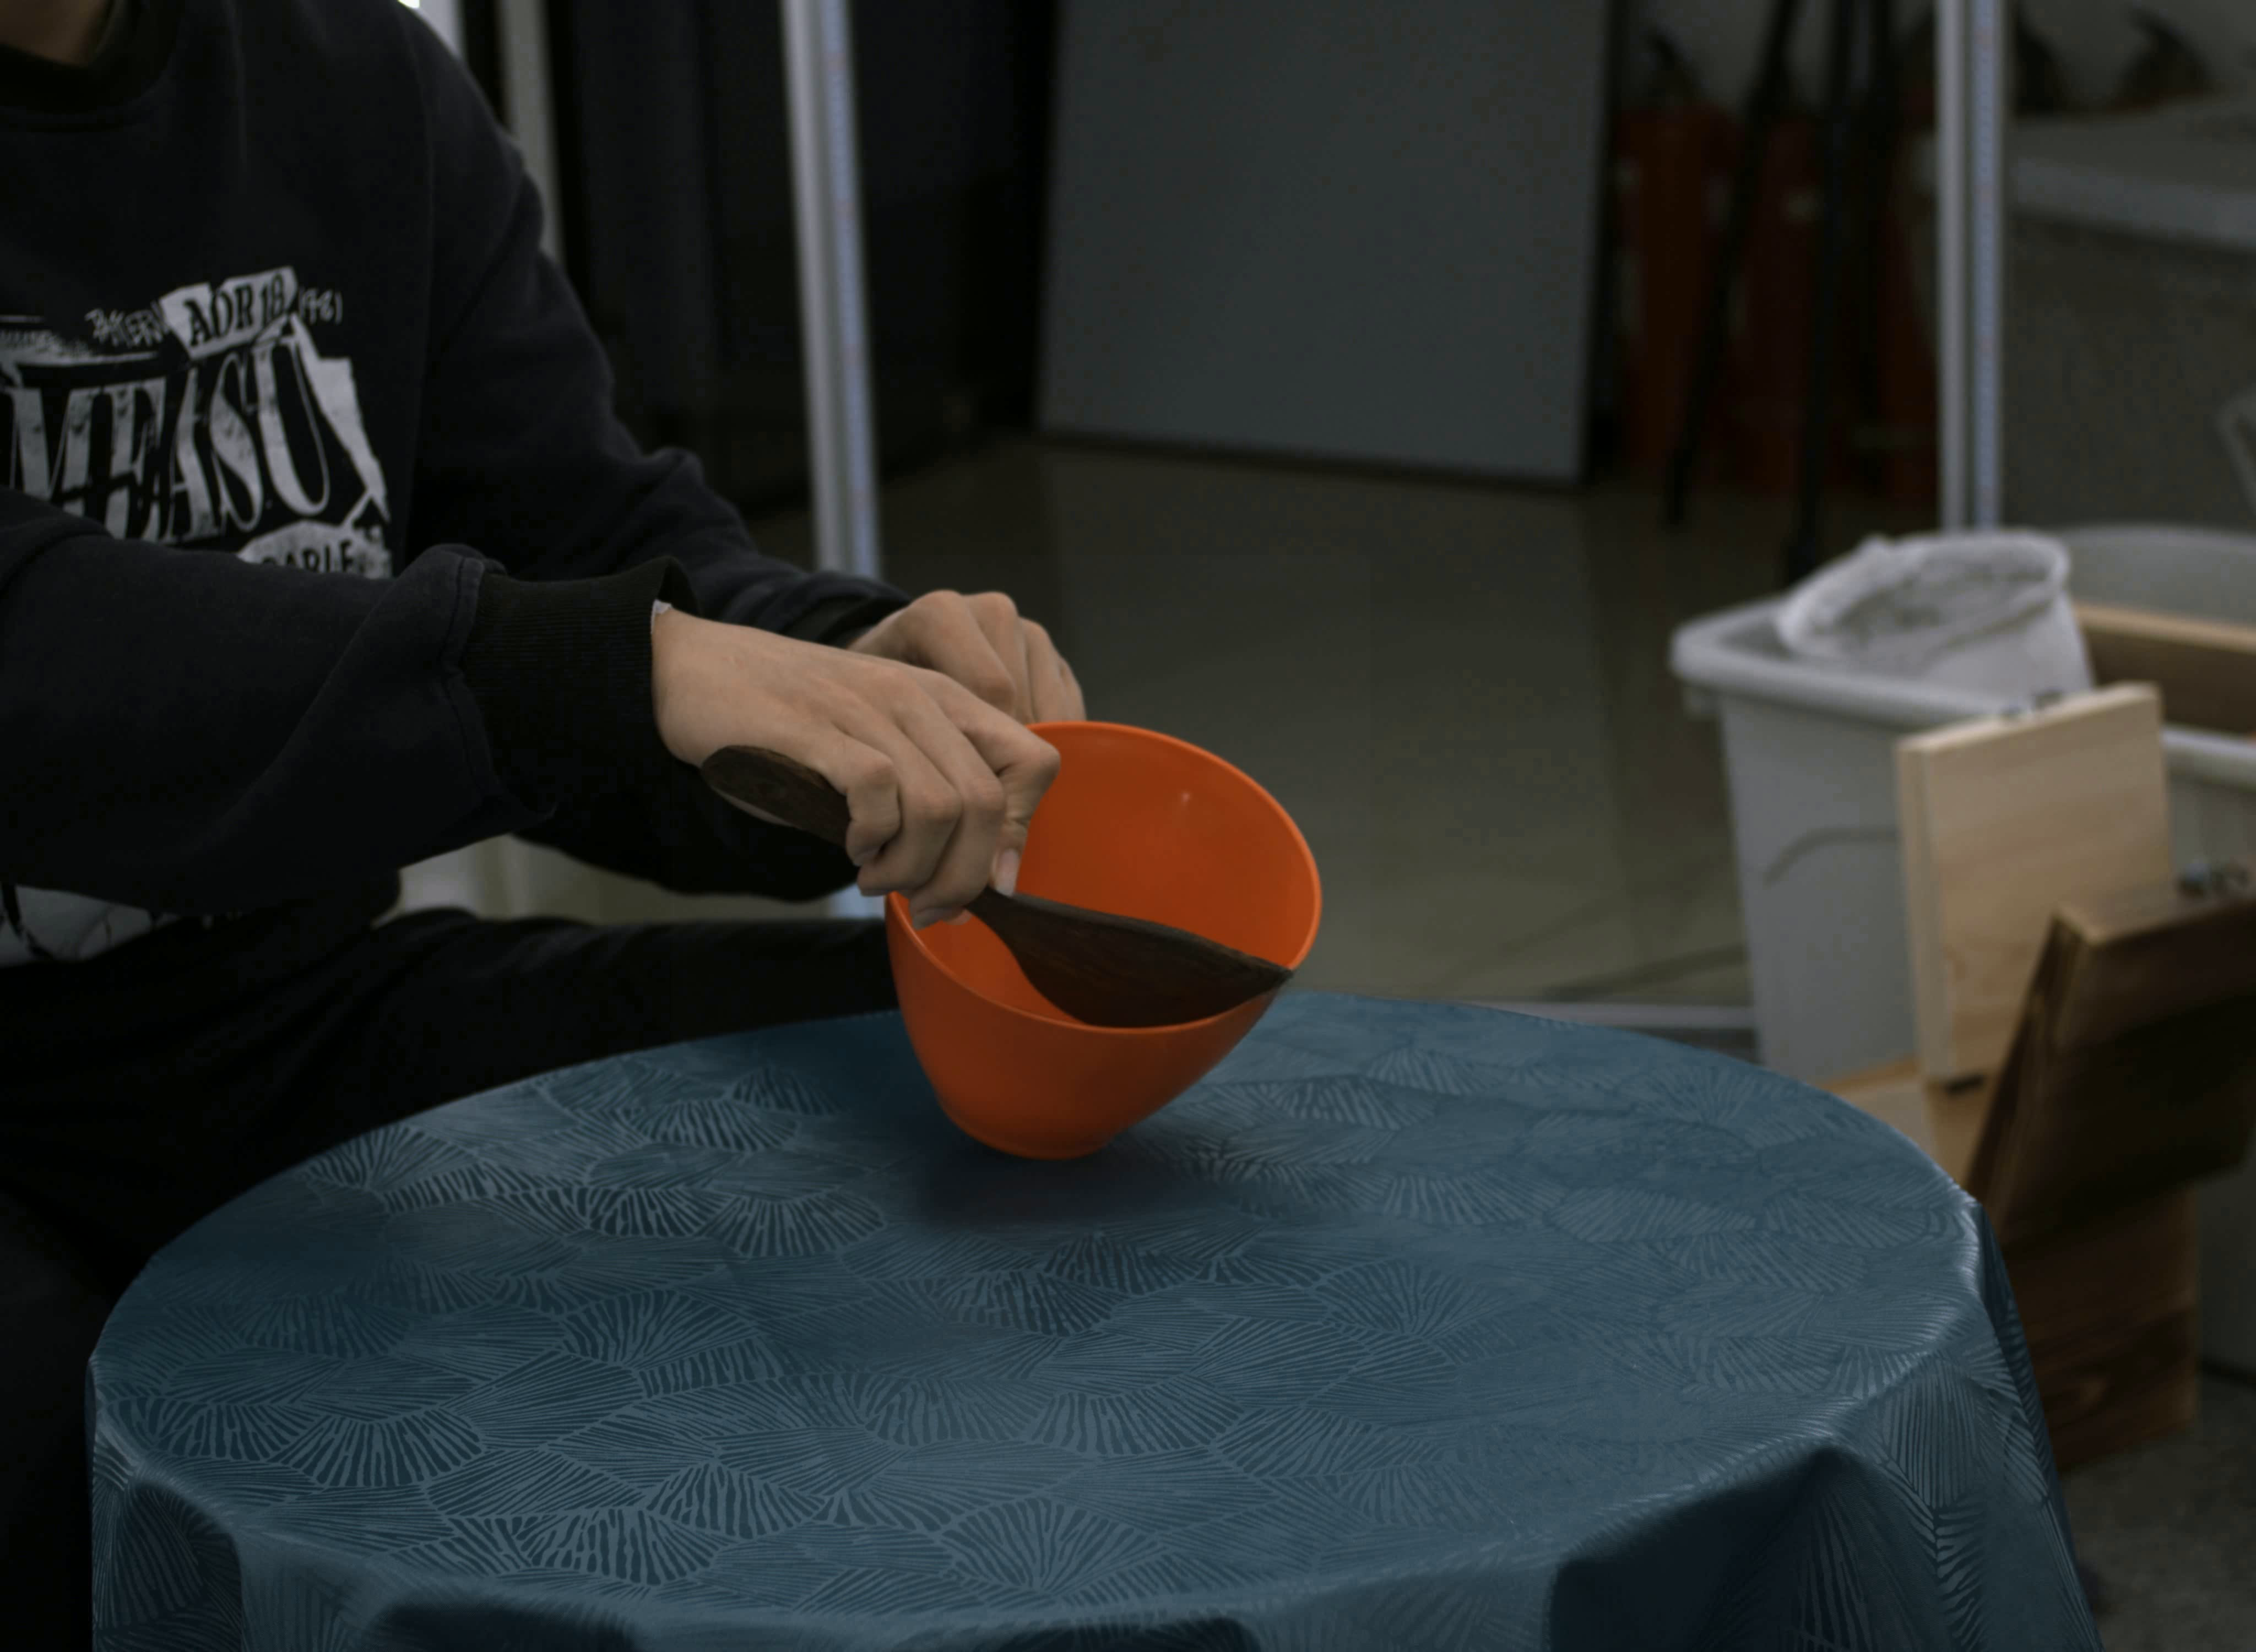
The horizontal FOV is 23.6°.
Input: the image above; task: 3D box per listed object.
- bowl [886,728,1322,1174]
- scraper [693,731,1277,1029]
[{"bbox_3d":[-0.016,0.051,1.810,0.145,0.105,0.149,10,34,-7],"label":"bowl"},{"bbox_3d":[-0.049,0.020,1.720,0.207,0.011,0.076,29,-38,-27],"label":"scraper"}]
